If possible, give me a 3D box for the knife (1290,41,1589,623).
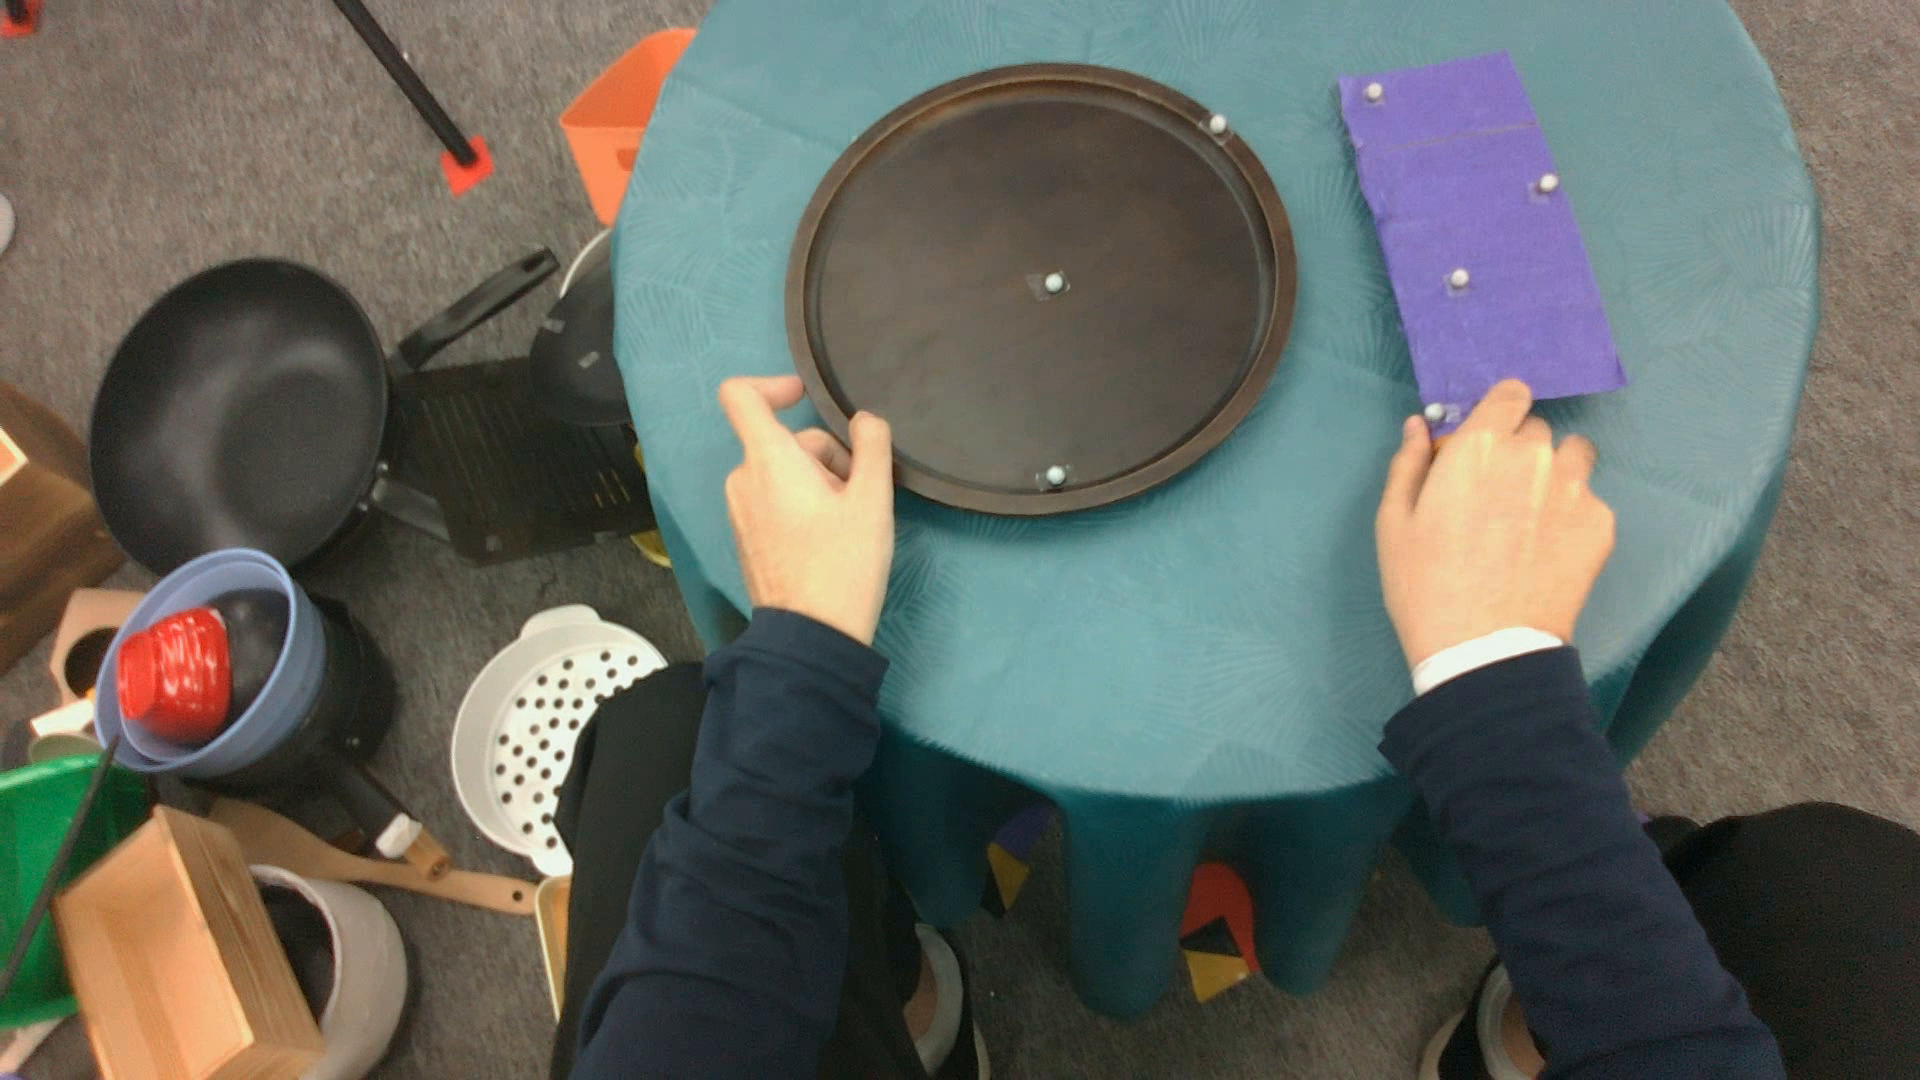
[{"bbox_3d":[0.238,-0.115,0.649,0.104,0.032,0.316,-8,66,4],"label":"knife"}]

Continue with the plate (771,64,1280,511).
[{"bbox_3d":[0.031,-0.130,0.688,0.254,0.029,0.255,-2,67,6],"label":"plate"}]
